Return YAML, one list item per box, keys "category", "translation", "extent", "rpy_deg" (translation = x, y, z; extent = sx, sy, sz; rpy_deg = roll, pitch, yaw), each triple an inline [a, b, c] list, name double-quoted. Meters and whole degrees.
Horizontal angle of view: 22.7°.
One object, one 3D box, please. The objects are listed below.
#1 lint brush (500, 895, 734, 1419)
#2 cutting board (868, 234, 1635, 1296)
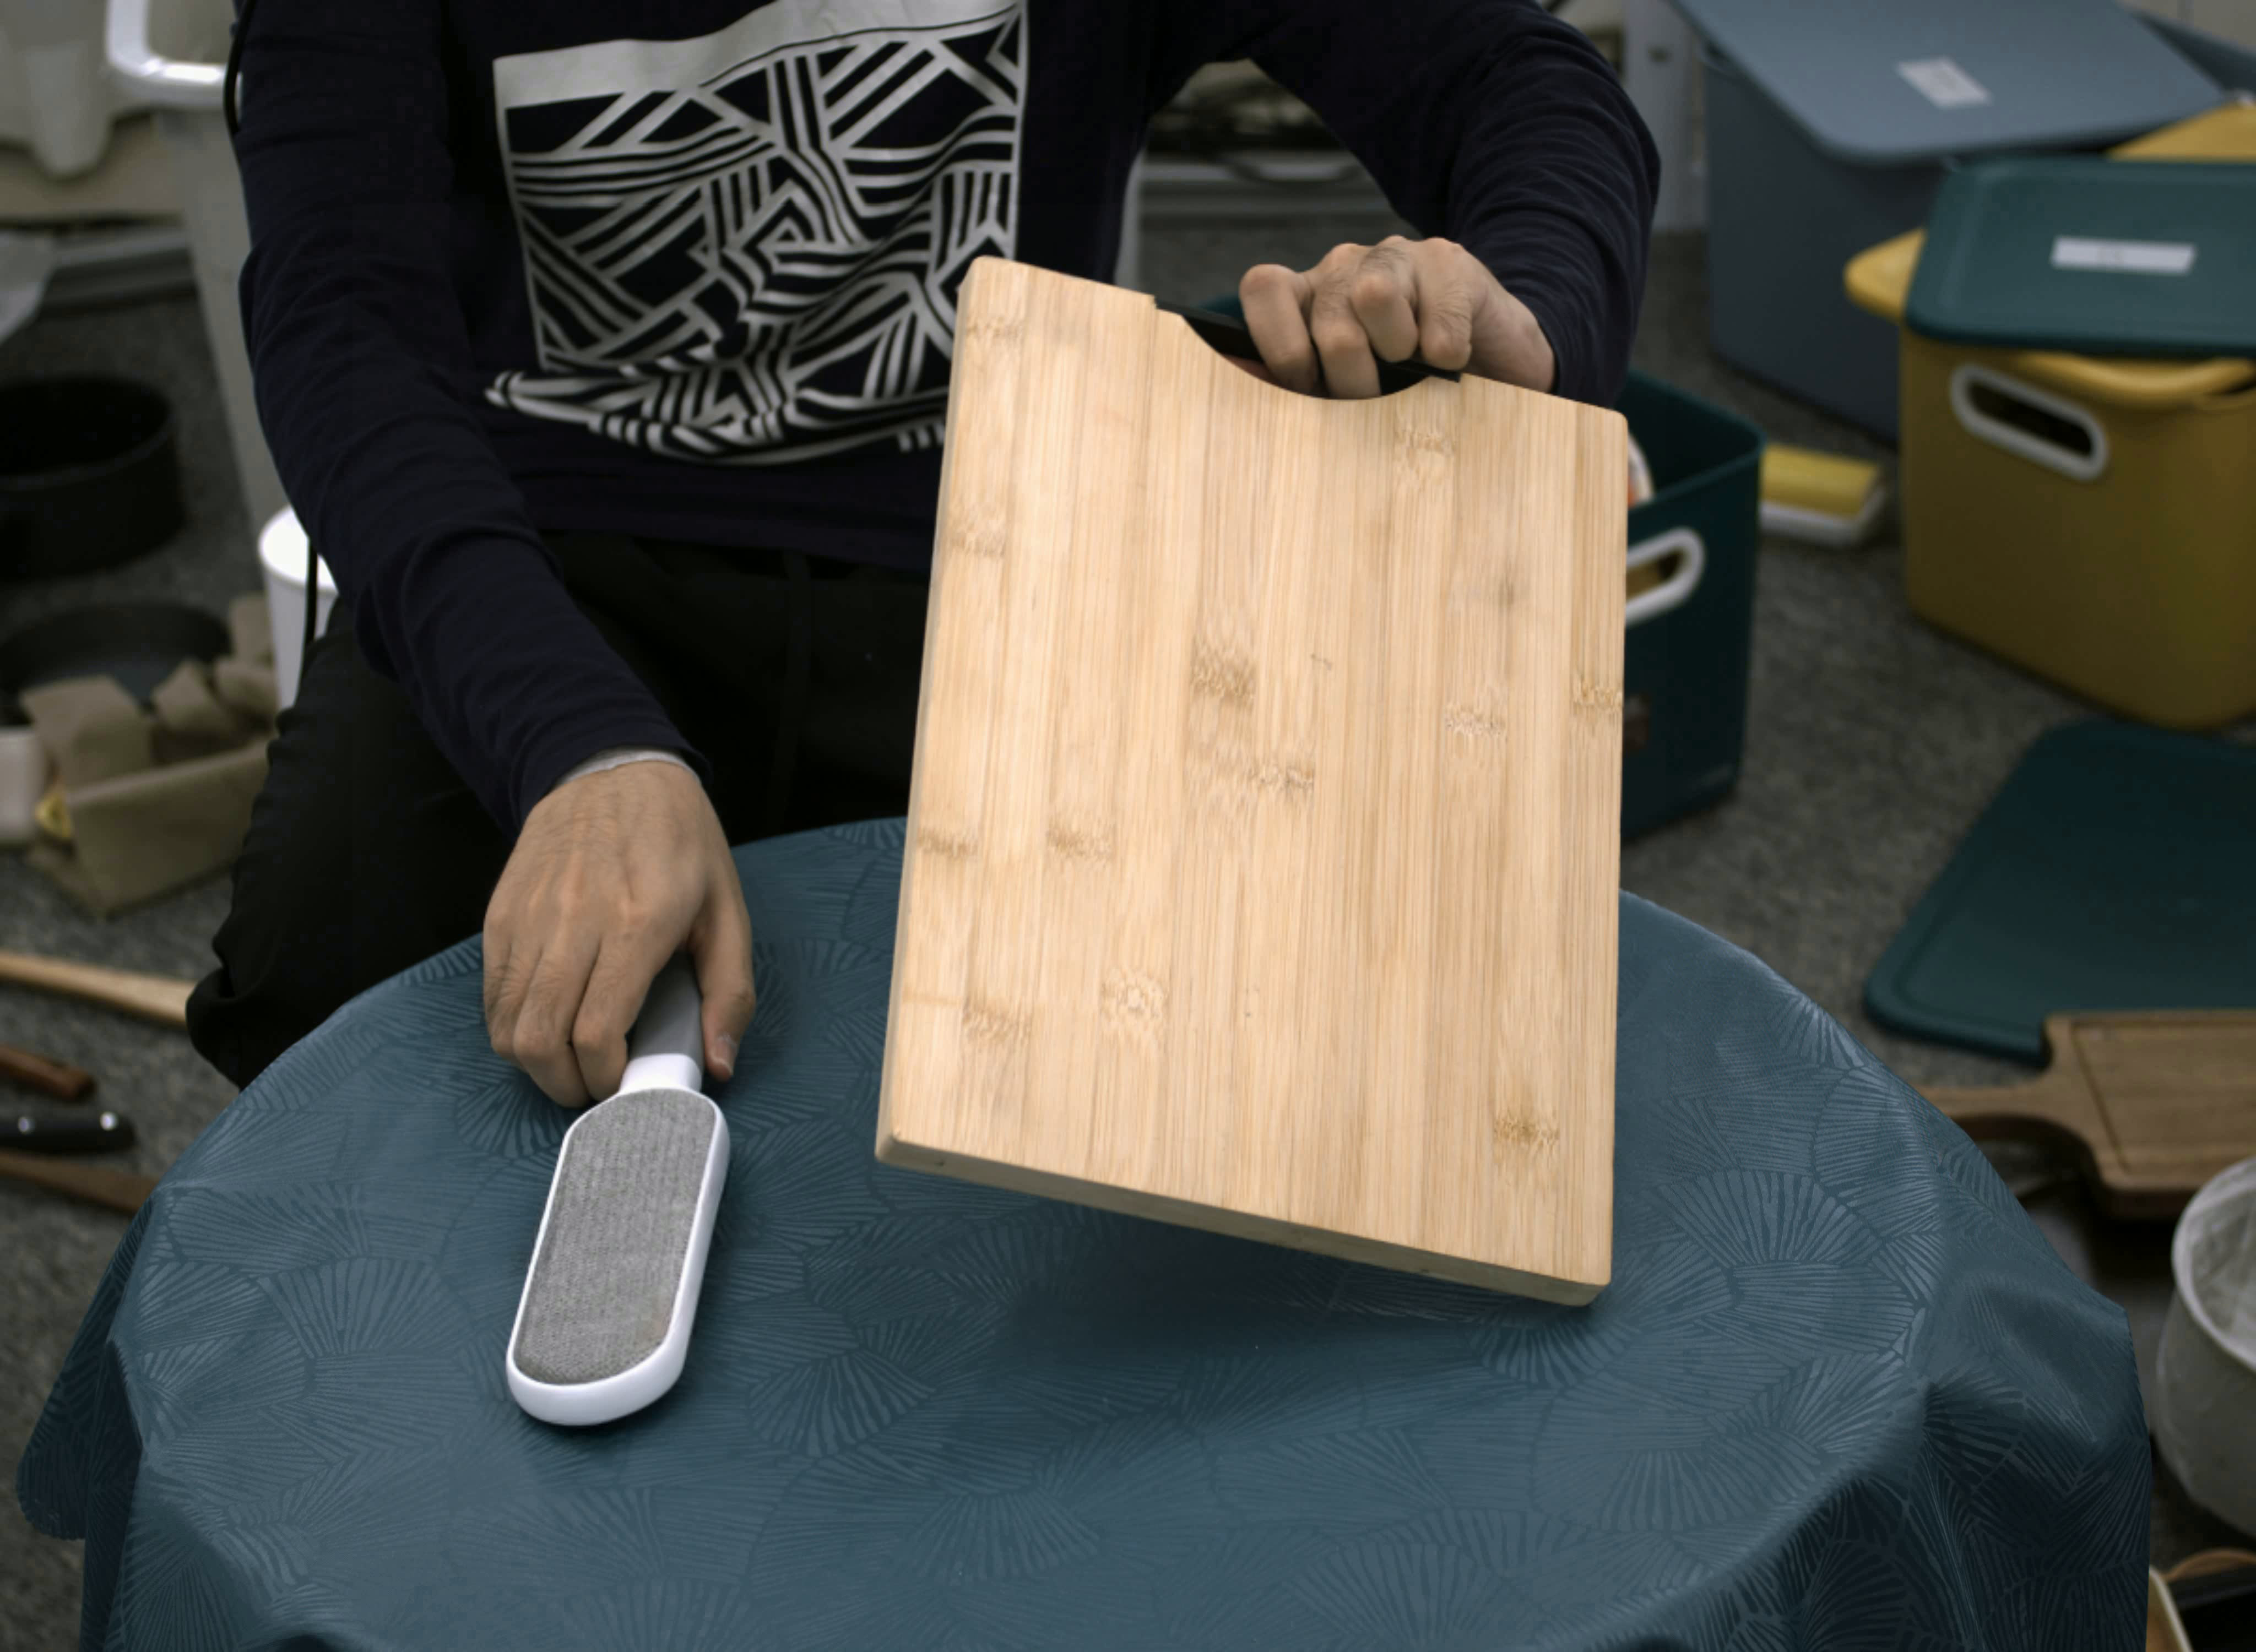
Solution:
- category: "lint brush"
  translation: [-0.160, 0.105, 1.873]
  extent: [0.059, 0.021, 0.314]
  rpy_deg: [-10, 27, 9]
- category: "cutting board"
  translation: [0.048, -0.024, 1.850]
  extent: [0.250, 0.023, 0.355]
  rpy_deg: [13, 57, -14]
